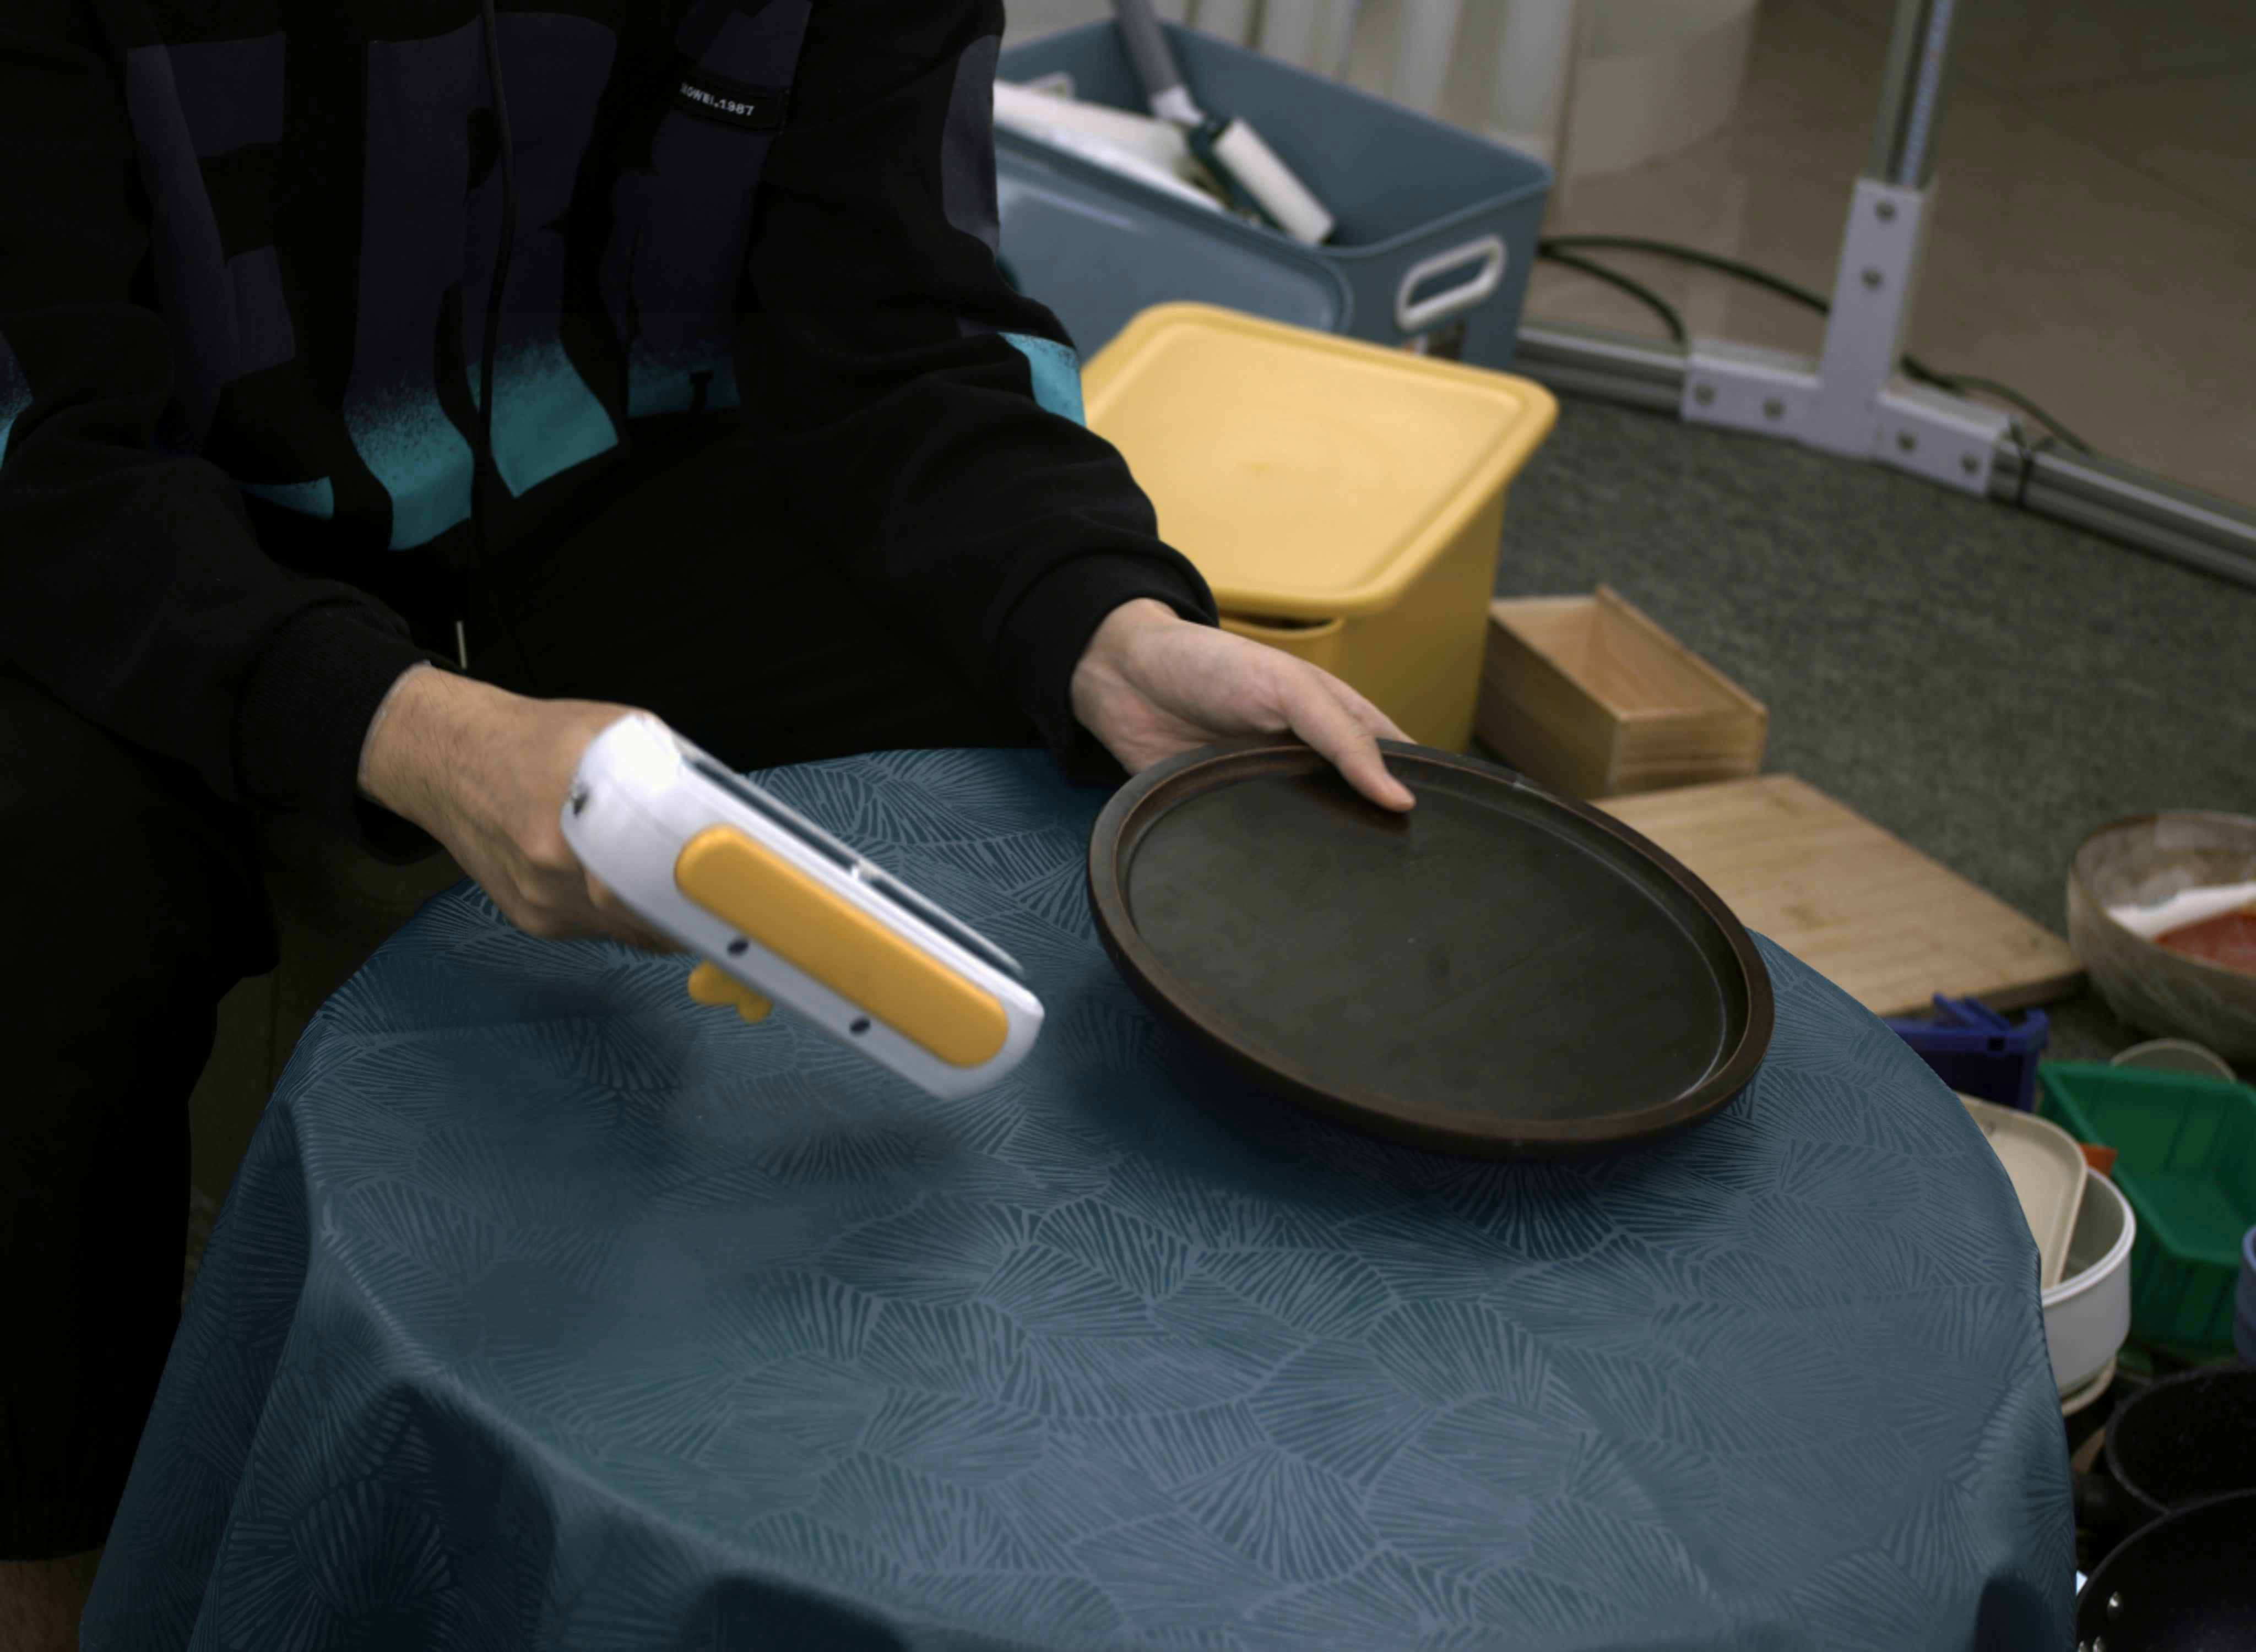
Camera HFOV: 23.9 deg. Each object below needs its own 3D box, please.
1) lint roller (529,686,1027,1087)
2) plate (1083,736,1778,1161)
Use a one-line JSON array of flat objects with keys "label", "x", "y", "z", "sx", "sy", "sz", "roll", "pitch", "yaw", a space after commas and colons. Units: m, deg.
[{"label": "lint roller", "x": -0.142, "y": 0.012, "z": 1.803, "sx": 0.191, "sy": 0.074, "sz": 0.194, "roll": 31, "pitch": 1, "yaw": -31}, {"label": "plate", "x": 0.107, "y": 0.042, "z": 1.893, "sx": 0.254, "sy": 0.029, "sz": 0.256, "roll": 10, "pitch": 29, "yaw": -6}]
